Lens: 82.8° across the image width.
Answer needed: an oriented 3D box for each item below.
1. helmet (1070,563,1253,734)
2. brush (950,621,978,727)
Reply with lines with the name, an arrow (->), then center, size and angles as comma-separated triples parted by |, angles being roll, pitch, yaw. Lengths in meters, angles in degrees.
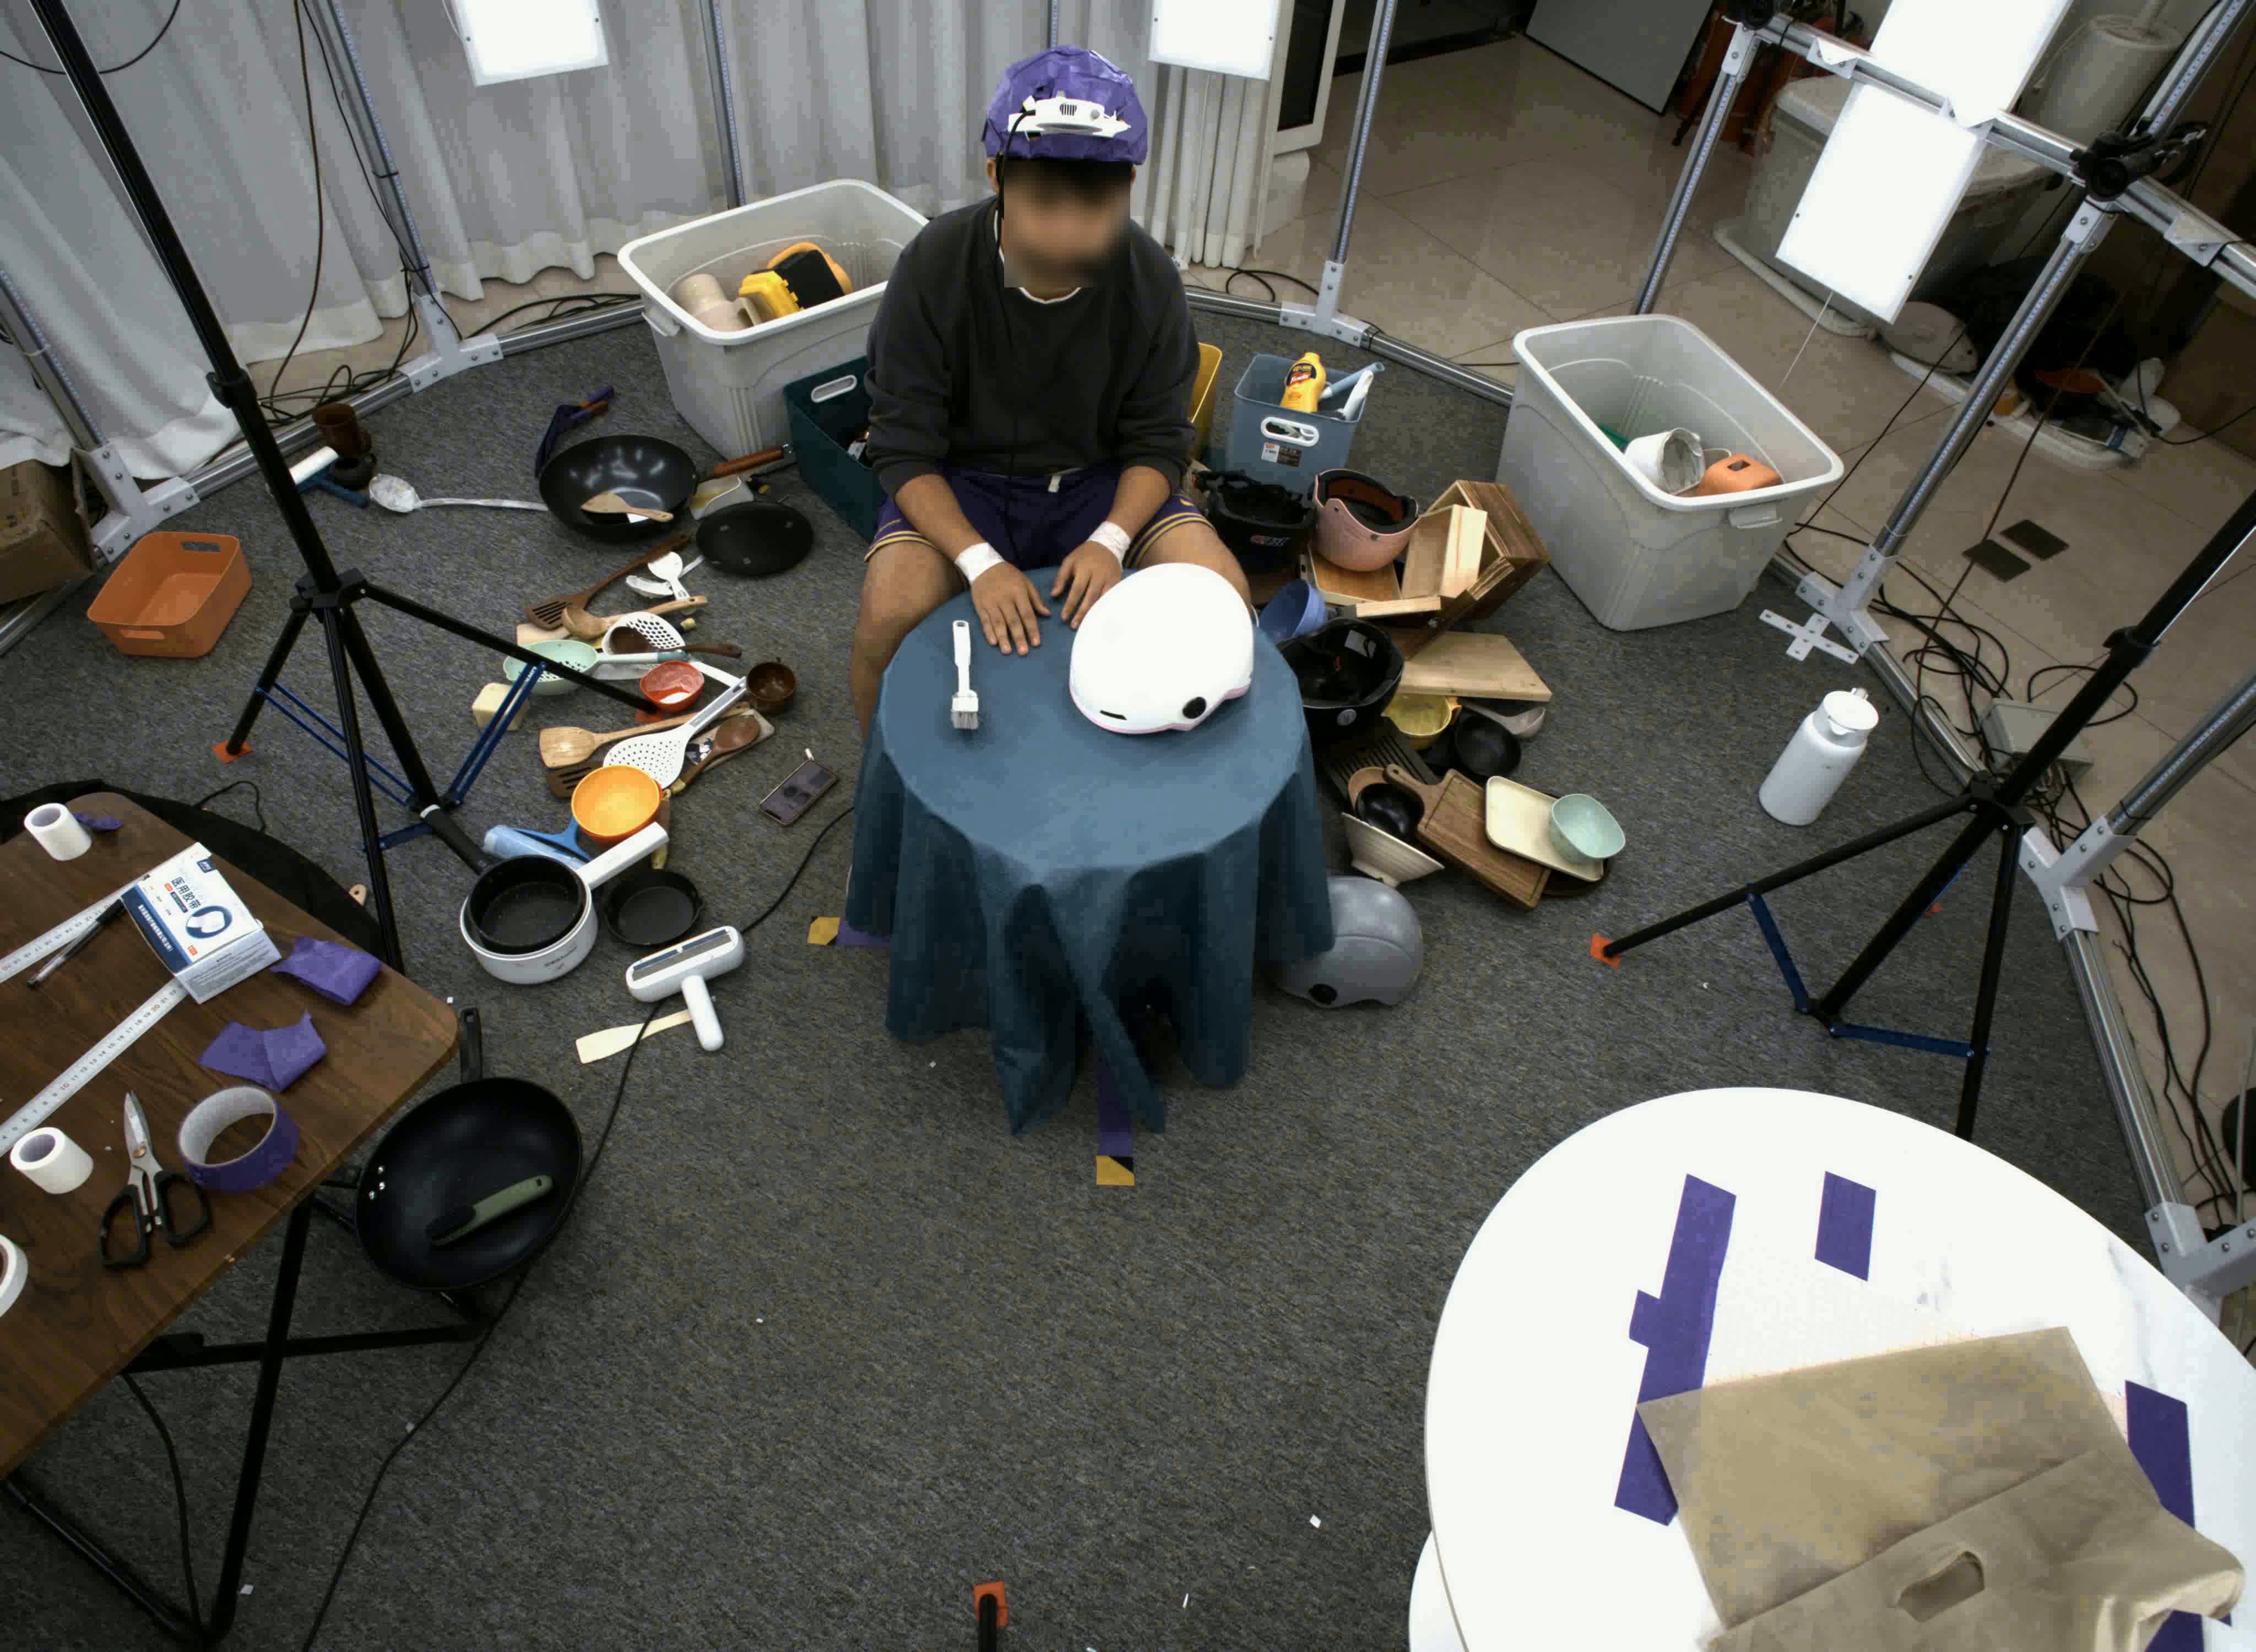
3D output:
helmet -> 0.051, -0.263, 1.793 | 0.269, 0.163, 0.242 | -24, 55, -22
brush -> -0.235, -0.214, 1.821 | 0.034, 0.049, 0.249 | 0, 36, -11
